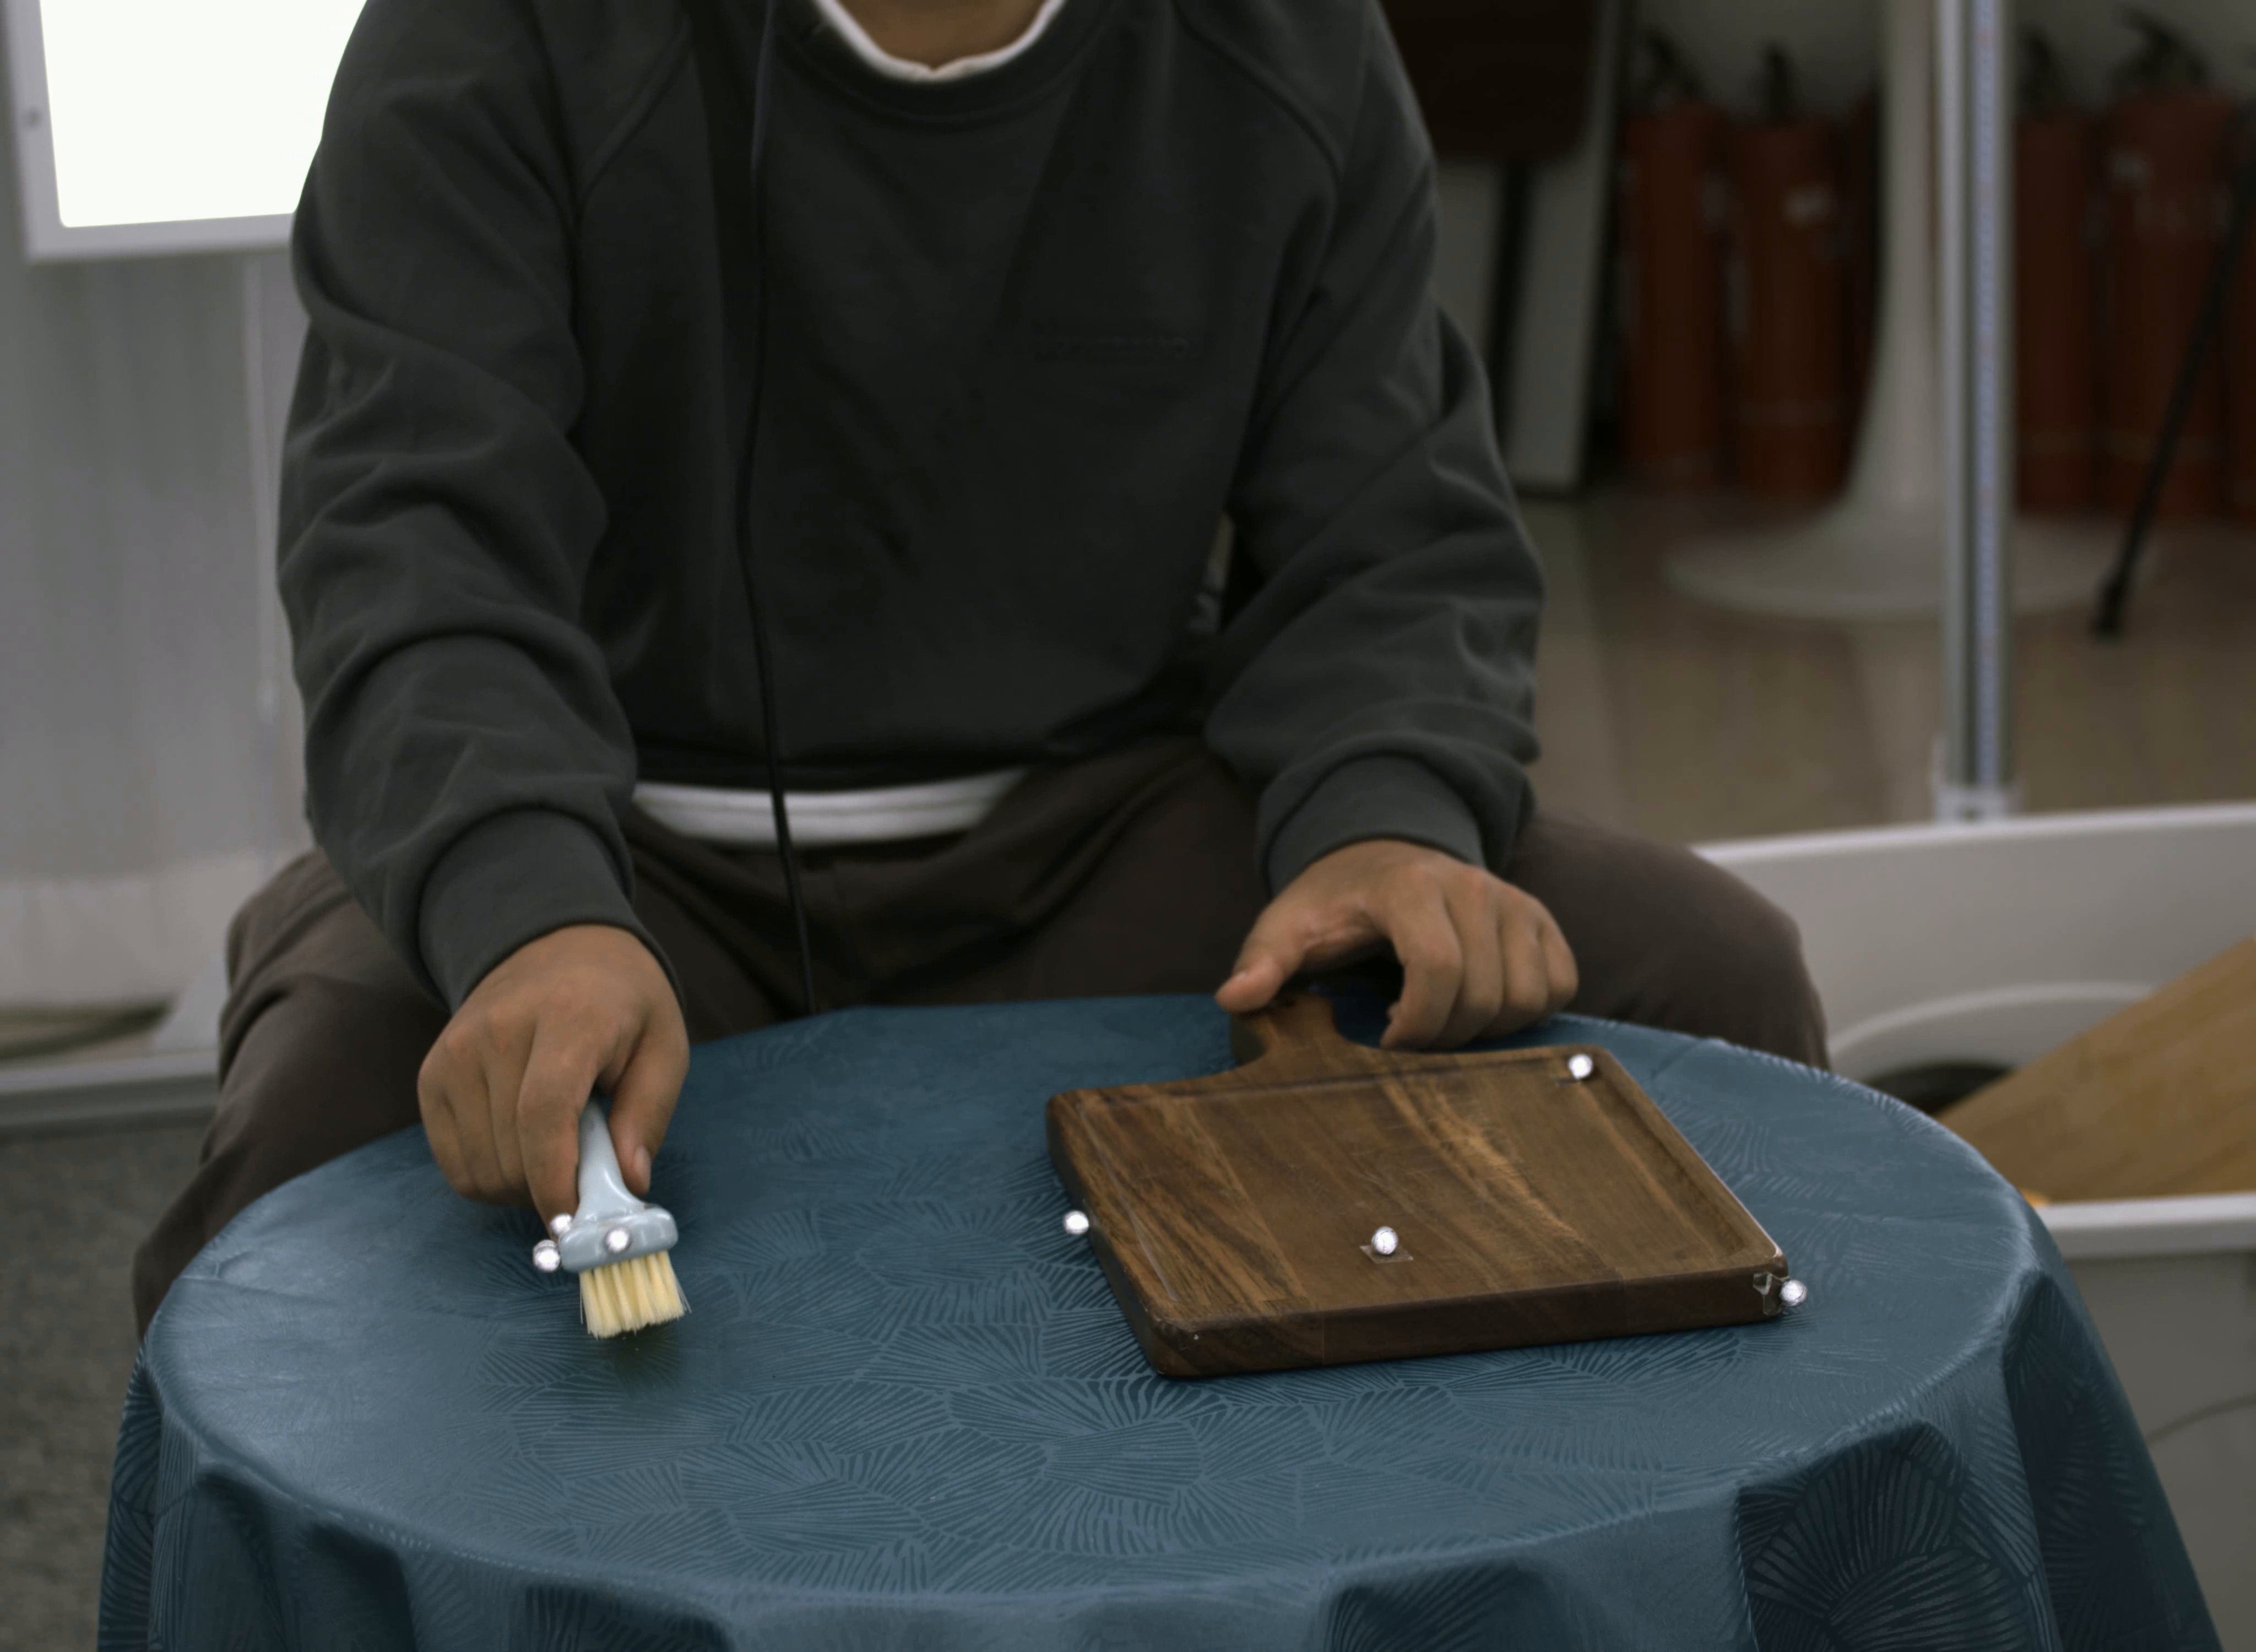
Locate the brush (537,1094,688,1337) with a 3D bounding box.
[{"bbox_3d":[-0.167,0.125,1.718,0.037,0.050,0.230,-13,11,-10],"label":"brush"}]

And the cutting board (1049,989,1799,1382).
[{"bbox_3d":[0.081,0.108,1.763,0.198,0.023,0.354,-5,14,-7],"label":"cutting board"}]
